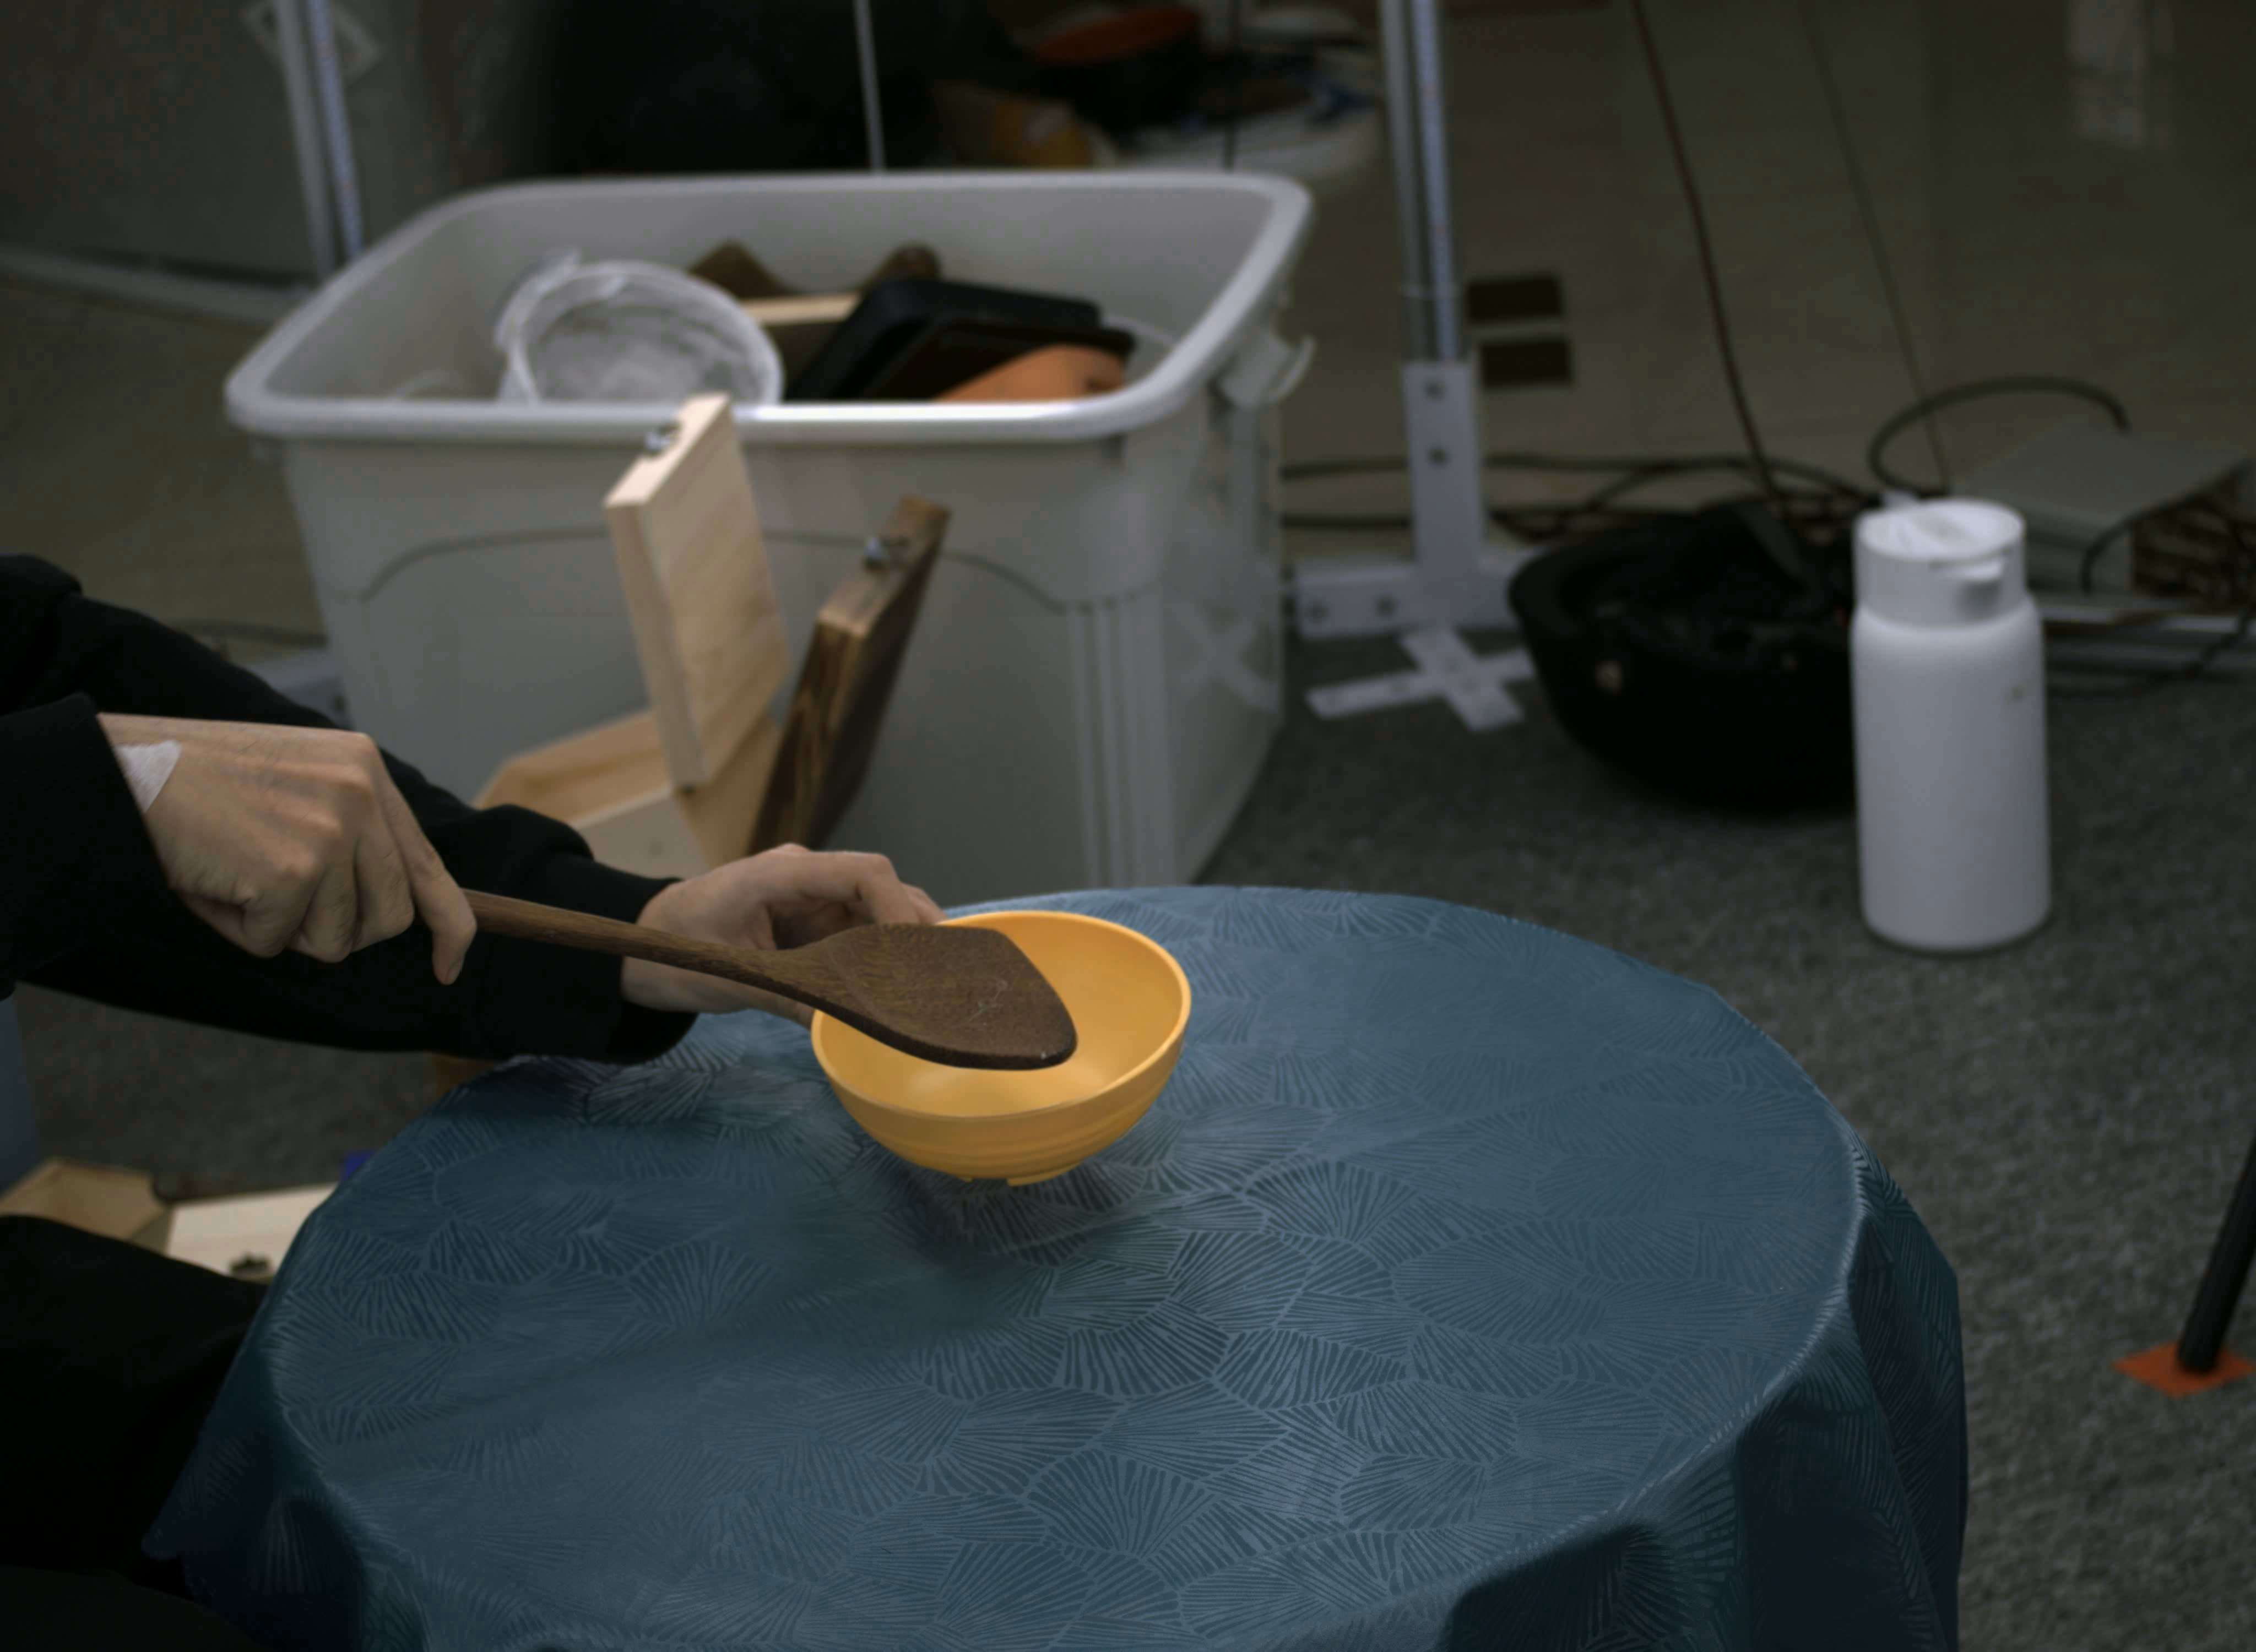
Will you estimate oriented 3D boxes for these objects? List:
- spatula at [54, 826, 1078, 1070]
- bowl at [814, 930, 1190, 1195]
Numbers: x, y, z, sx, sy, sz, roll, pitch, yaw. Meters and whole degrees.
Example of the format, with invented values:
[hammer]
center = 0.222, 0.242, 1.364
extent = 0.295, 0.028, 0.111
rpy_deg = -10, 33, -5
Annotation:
[spatula]
center = -0.194, 0.038, 2.008
extent = 0.387, 0.016, 0.094
rpy_deg = 11, 27, -28
[bowl]
center = -0.045, 0.099, 2.160
extent = 0.145, 0.061, 0.143
rpy_deg = -5, 29, 3
